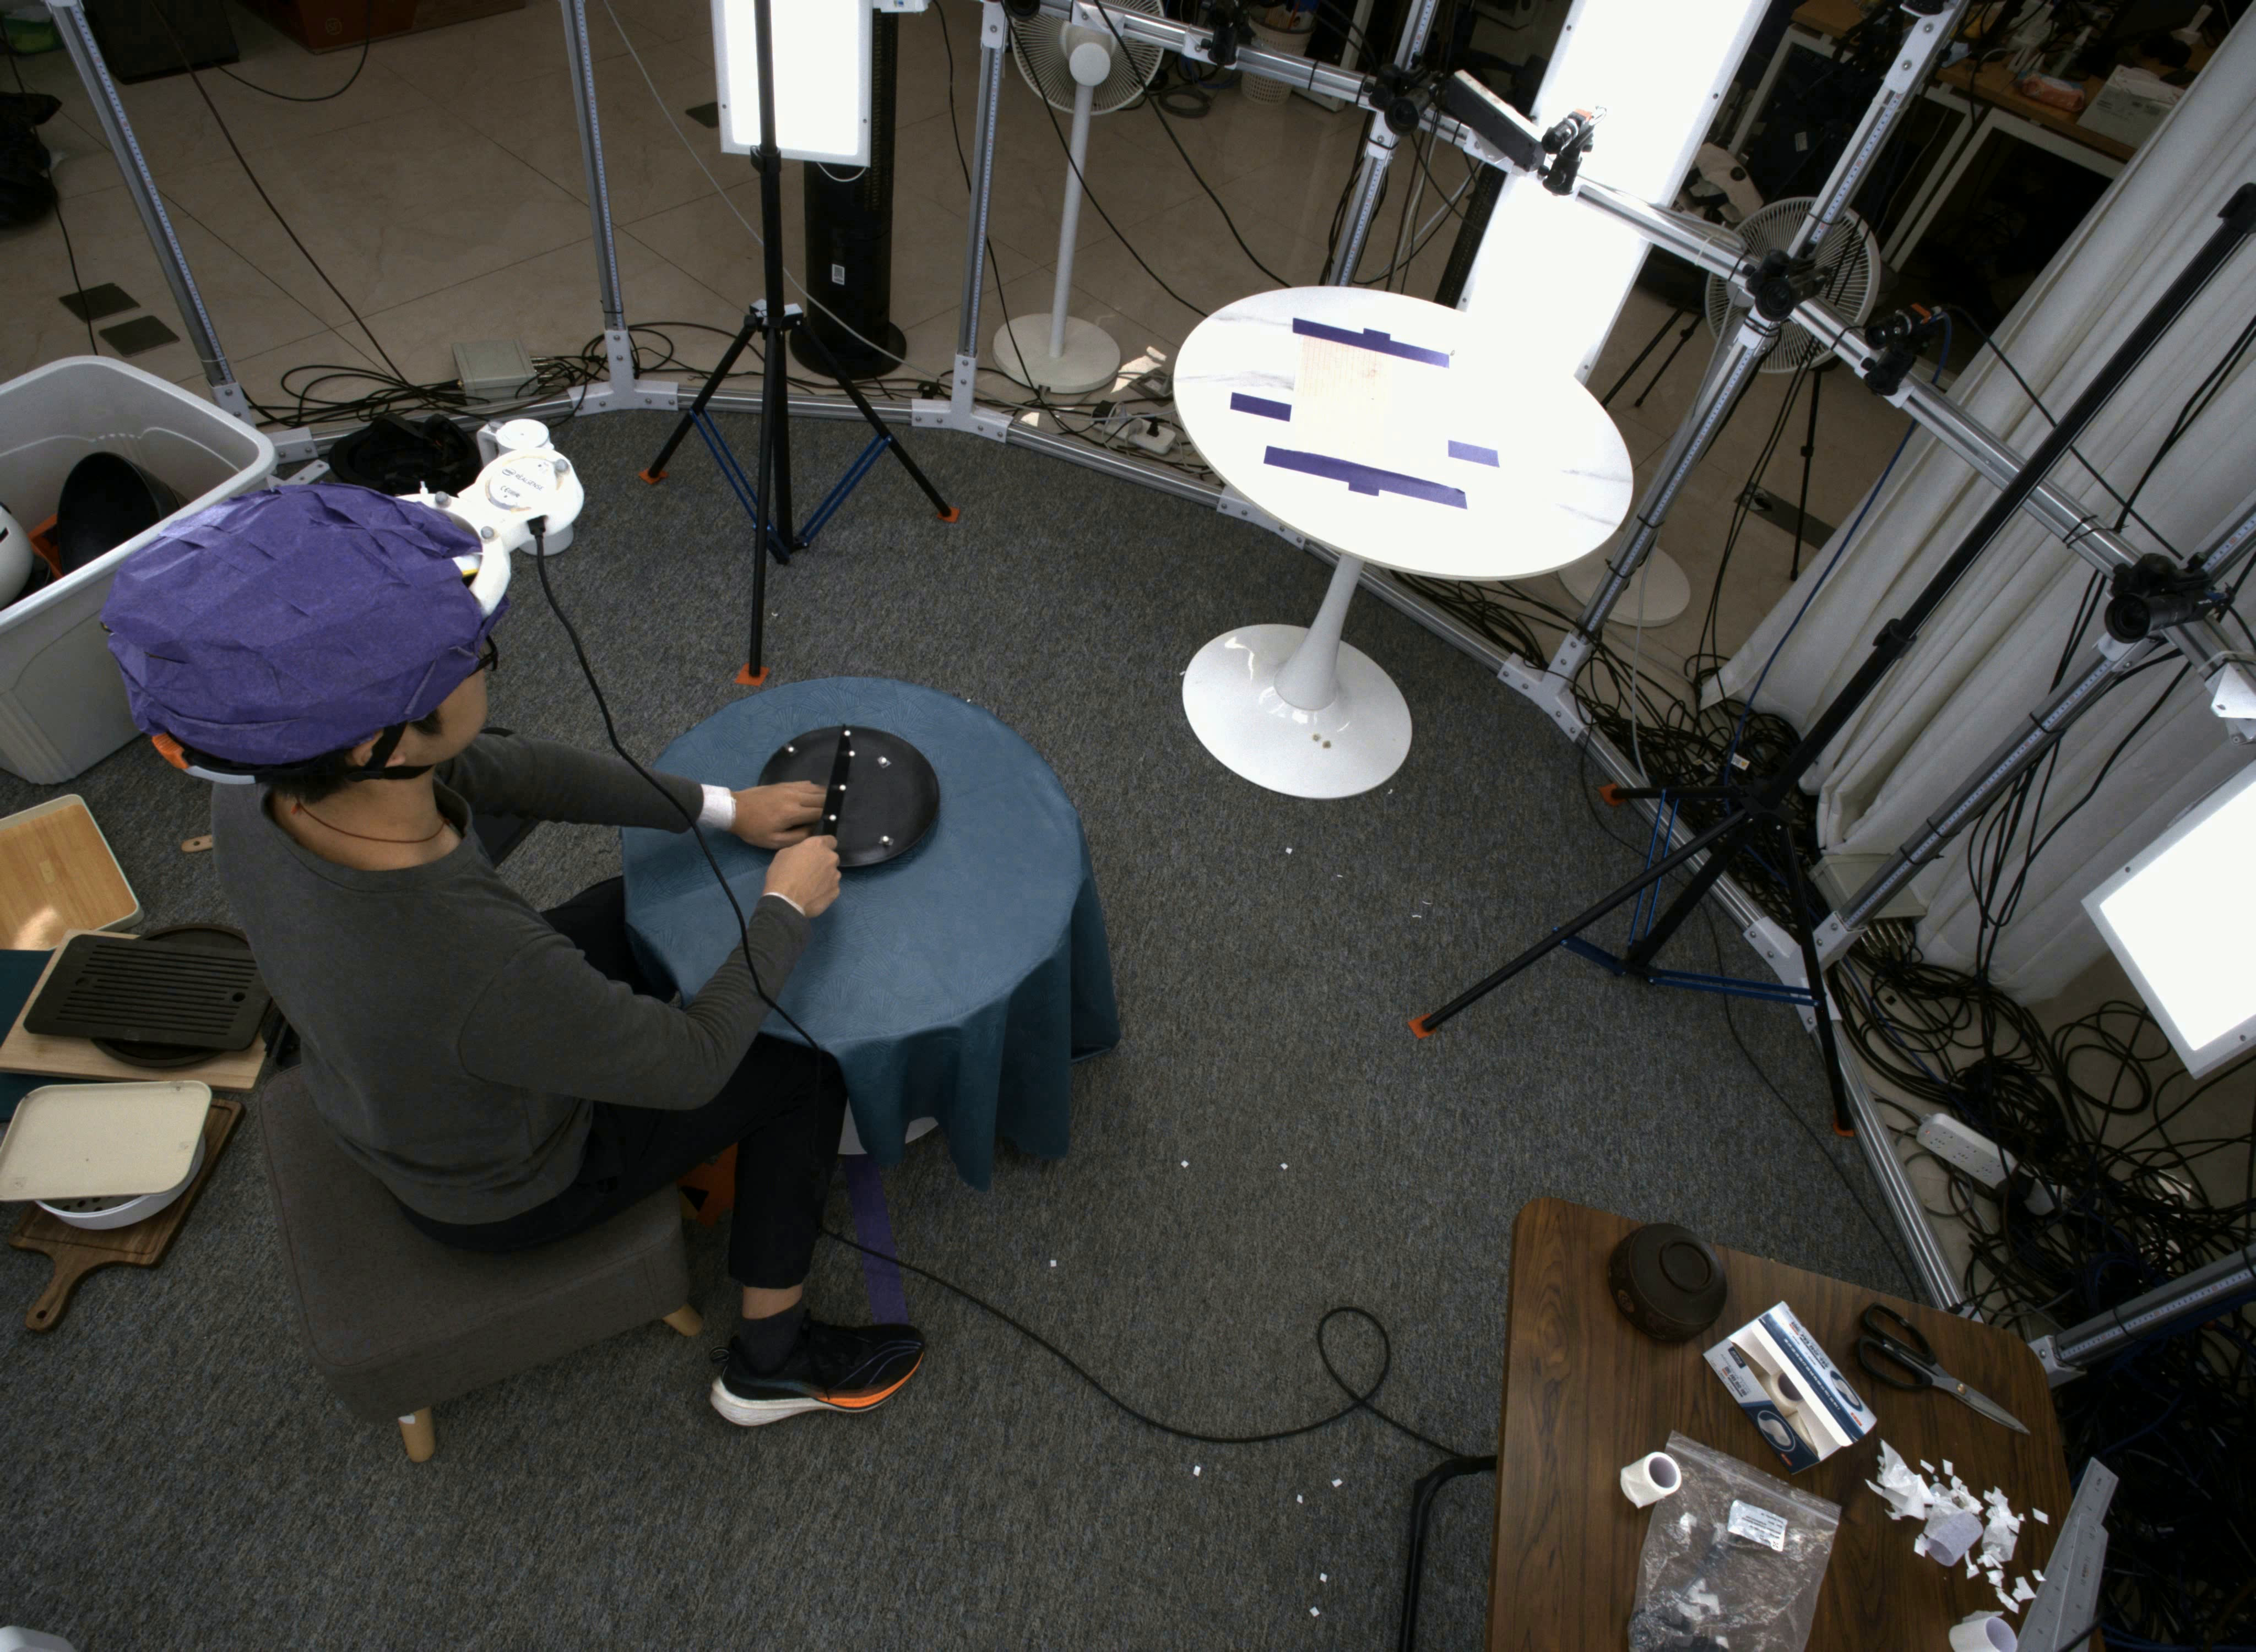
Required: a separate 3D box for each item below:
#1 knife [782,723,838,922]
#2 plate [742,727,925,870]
[{"bbox_3d":[-0.405,-0.005,1.668,0.020,0.083,0.296,0,49,2],"label":"knife"},{"bbox_3d":[-0.396,-0.037,1.755,0.244,0.024,0.240,8,52,-9],"label":"plate"}]
